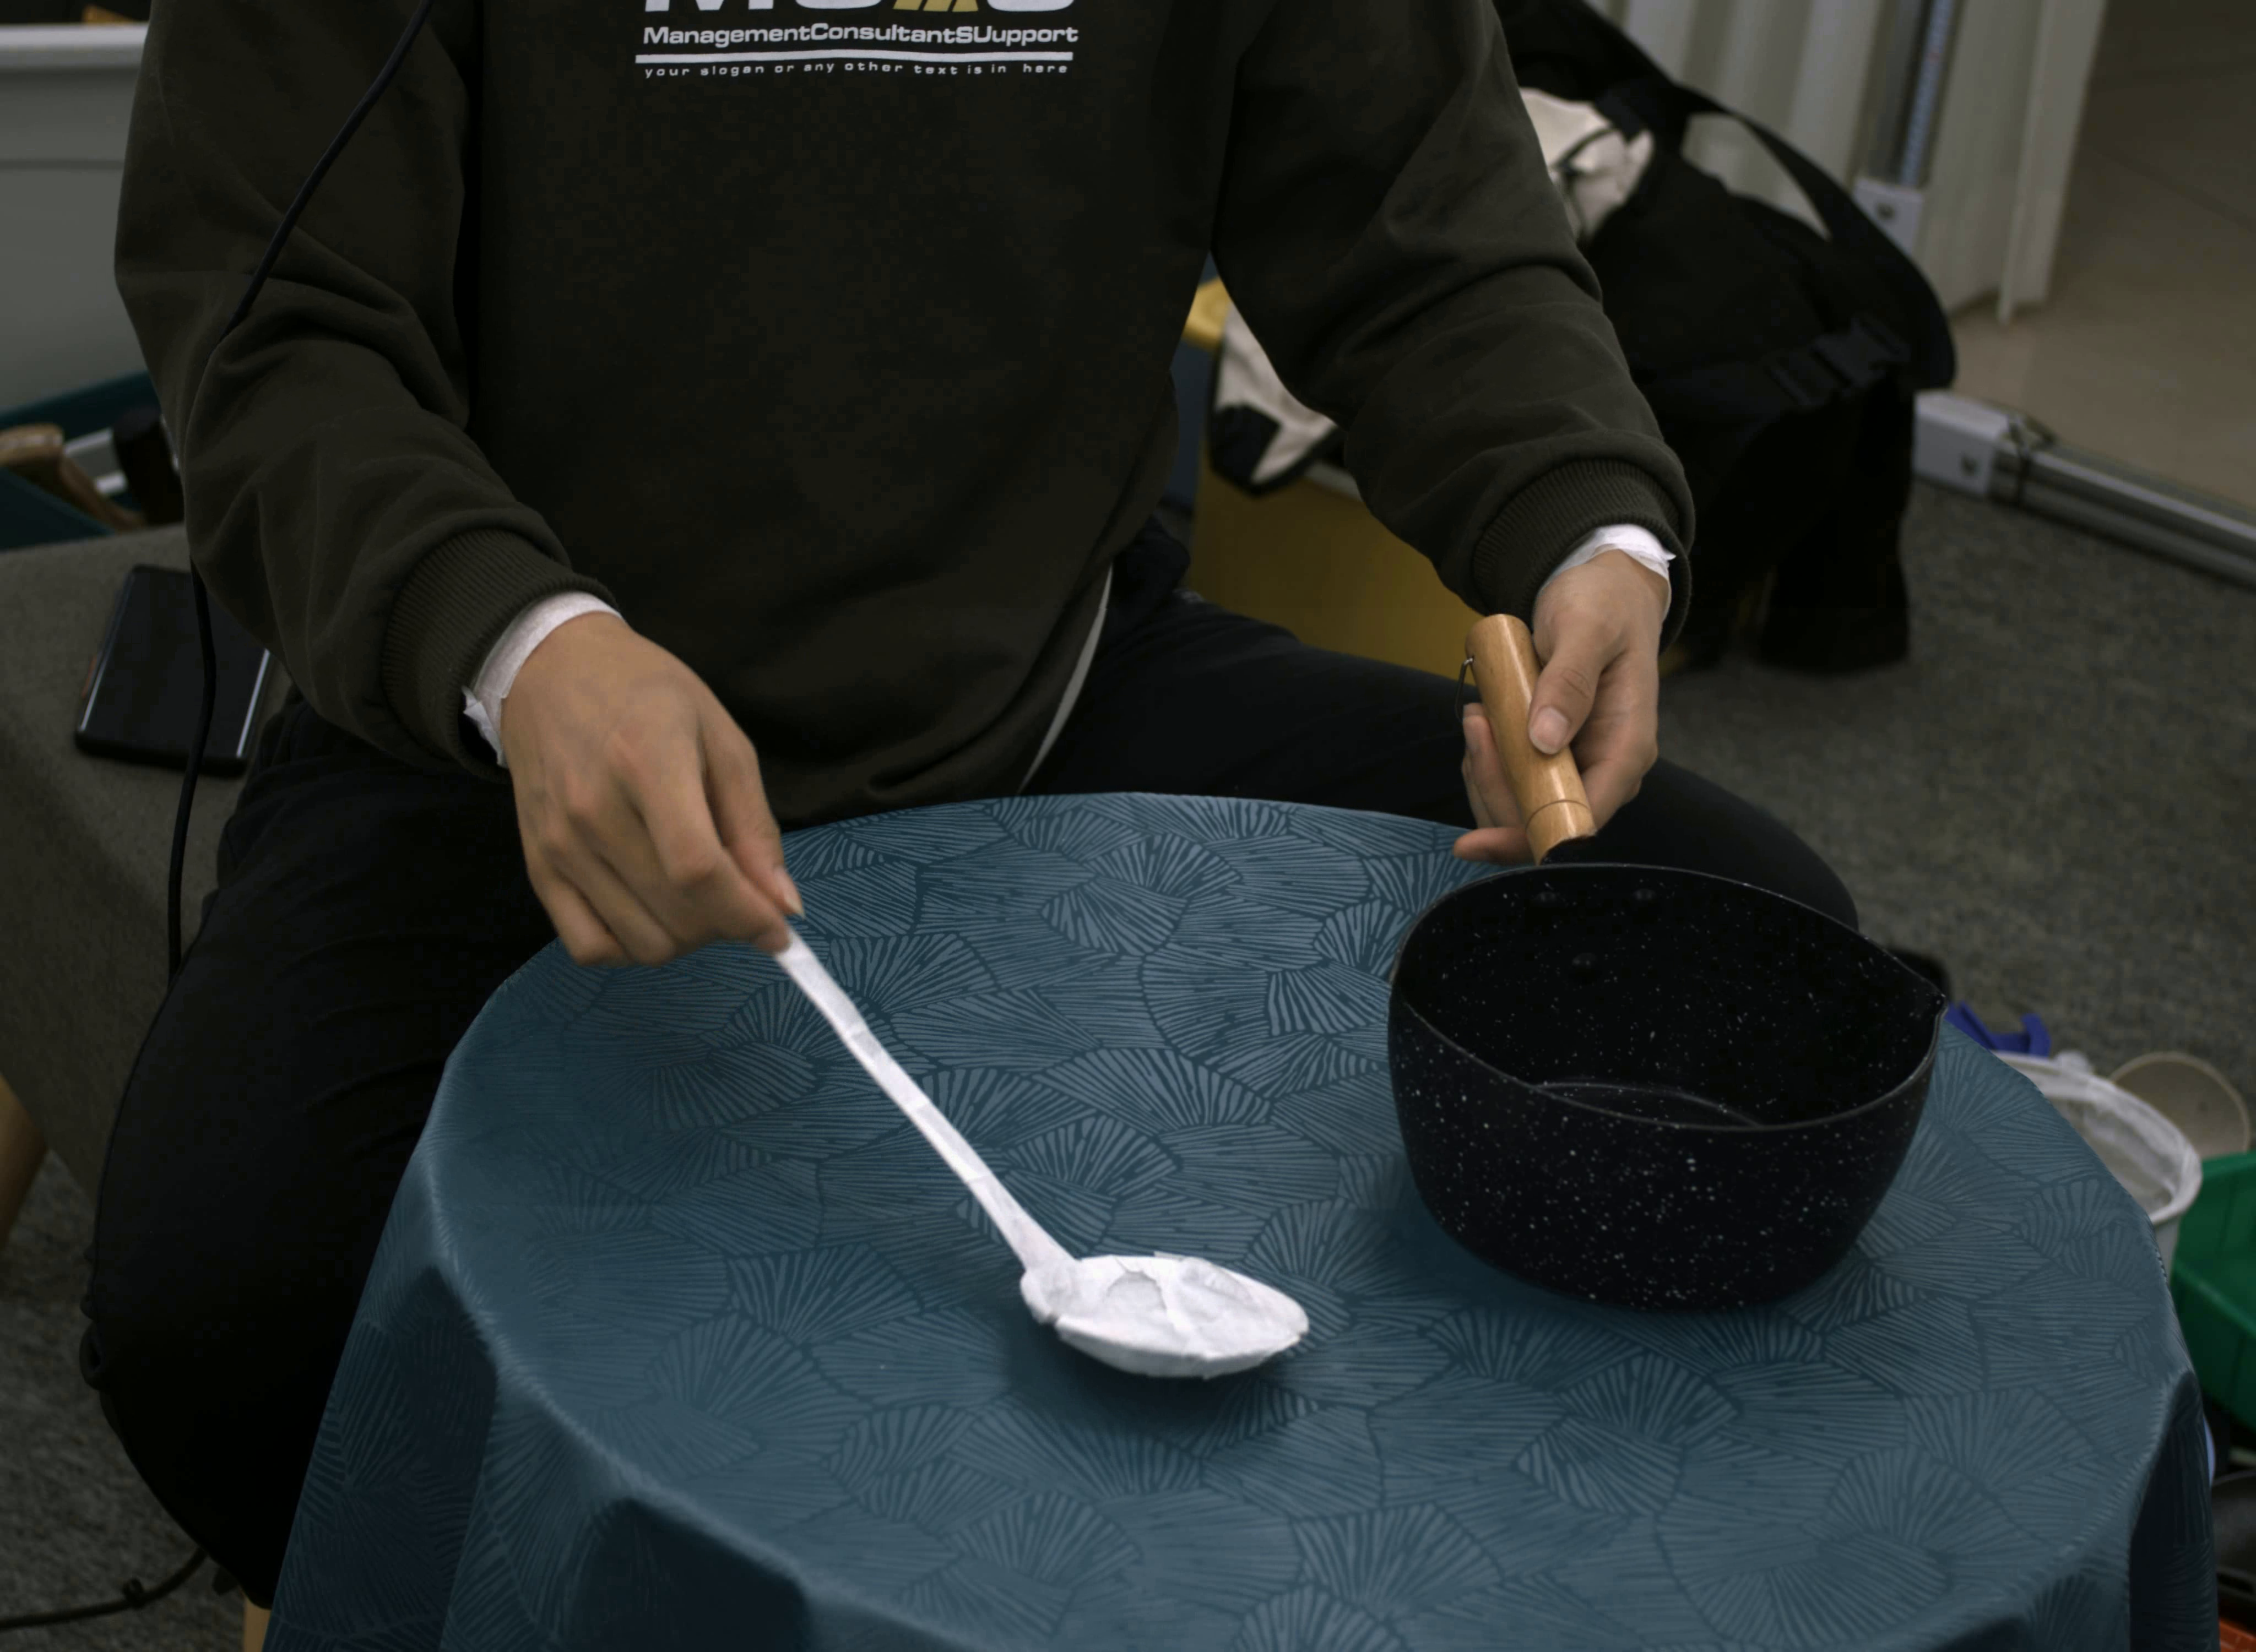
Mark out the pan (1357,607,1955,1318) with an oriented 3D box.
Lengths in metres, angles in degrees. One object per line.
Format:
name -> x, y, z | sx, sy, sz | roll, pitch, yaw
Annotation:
pan -> 0.163, 0.045, 1.879 | 0.206, 0.108, 0.345 | -1, 29, -12

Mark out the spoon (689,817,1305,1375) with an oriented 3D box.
spoon -> -0.047, 0.081, 1.743 | 0.100, 0.059, 0.279 | -8, 53, -53
